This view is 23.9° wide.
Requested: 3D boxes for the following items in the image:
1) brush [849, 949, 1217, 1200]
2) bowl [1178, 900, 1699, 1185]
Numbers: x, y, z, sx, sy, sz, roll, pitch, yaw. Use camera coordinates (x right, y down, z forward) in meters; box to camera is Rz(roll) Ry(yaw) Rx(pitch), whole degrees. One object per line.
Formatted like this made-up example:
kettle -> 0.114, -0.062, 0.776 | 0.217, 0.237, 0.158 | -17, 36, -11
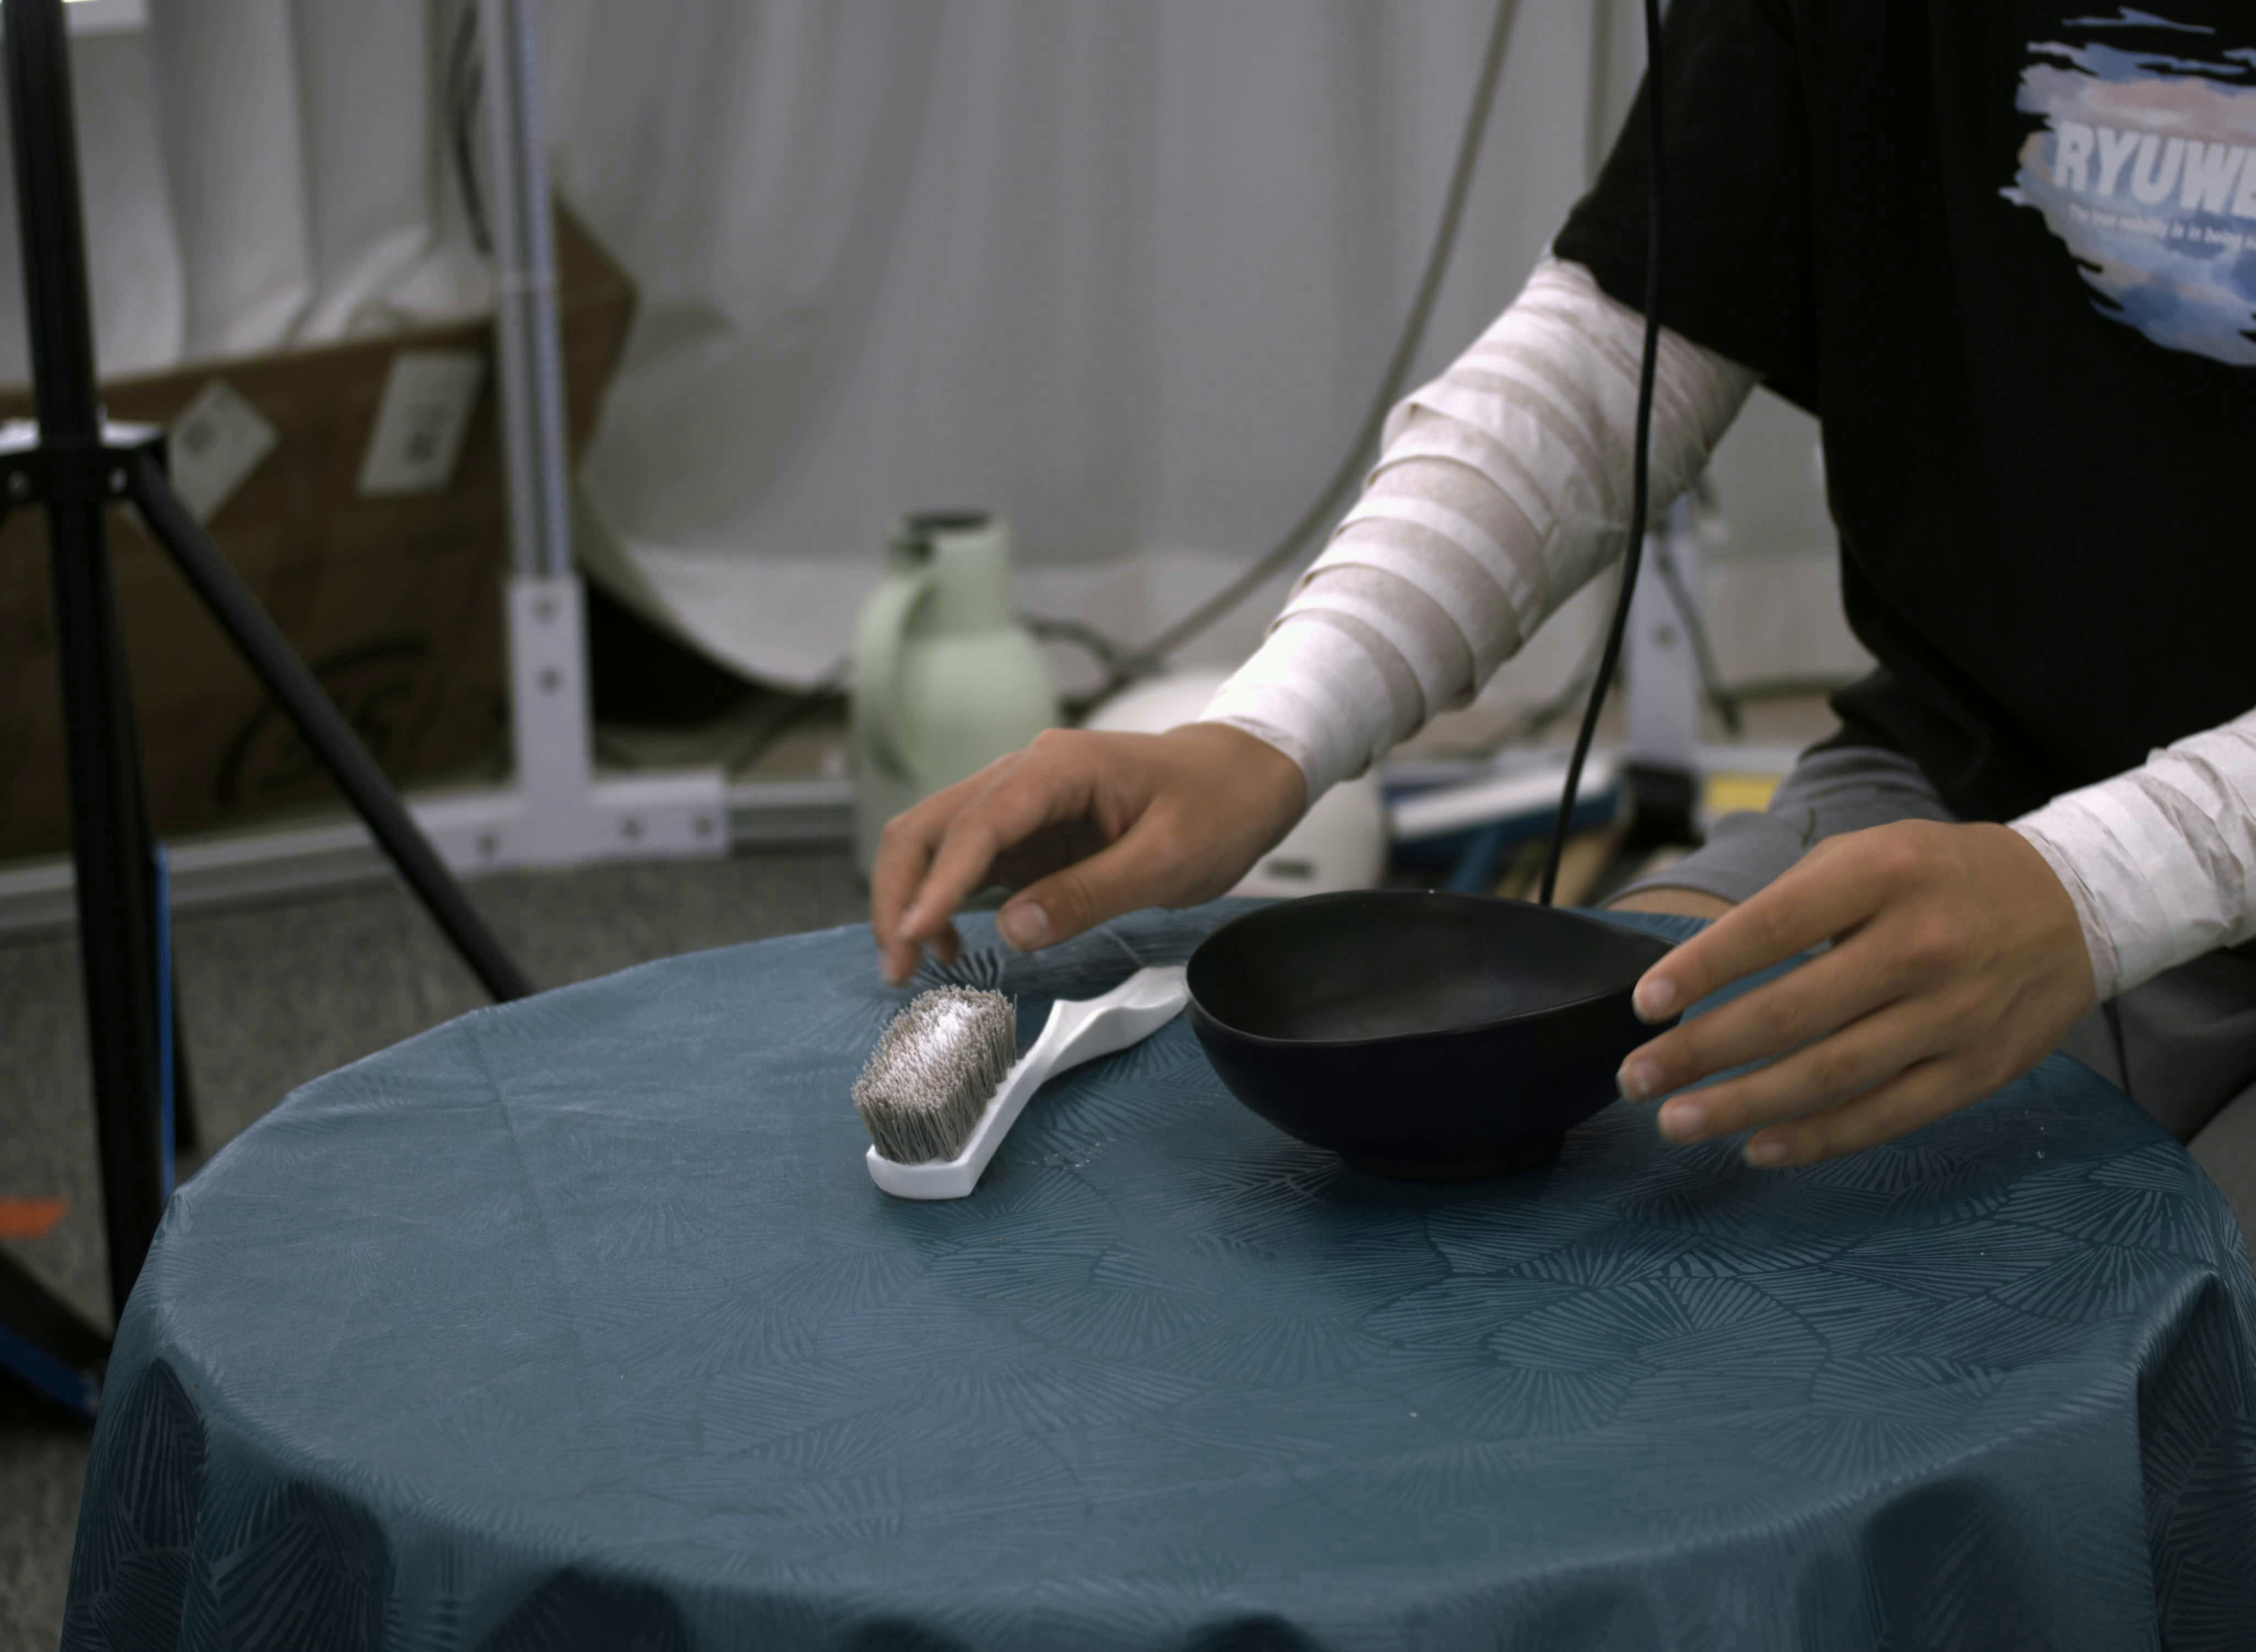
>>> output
brush -> -0.020, 0.057, 1.652 | 0.035, 0.050, 0.240 | 4, 17, 25
bowl -> 0.093, 0.067, 1.576 | 0.166, 0.067, 0.140 | -13, 19, -40
